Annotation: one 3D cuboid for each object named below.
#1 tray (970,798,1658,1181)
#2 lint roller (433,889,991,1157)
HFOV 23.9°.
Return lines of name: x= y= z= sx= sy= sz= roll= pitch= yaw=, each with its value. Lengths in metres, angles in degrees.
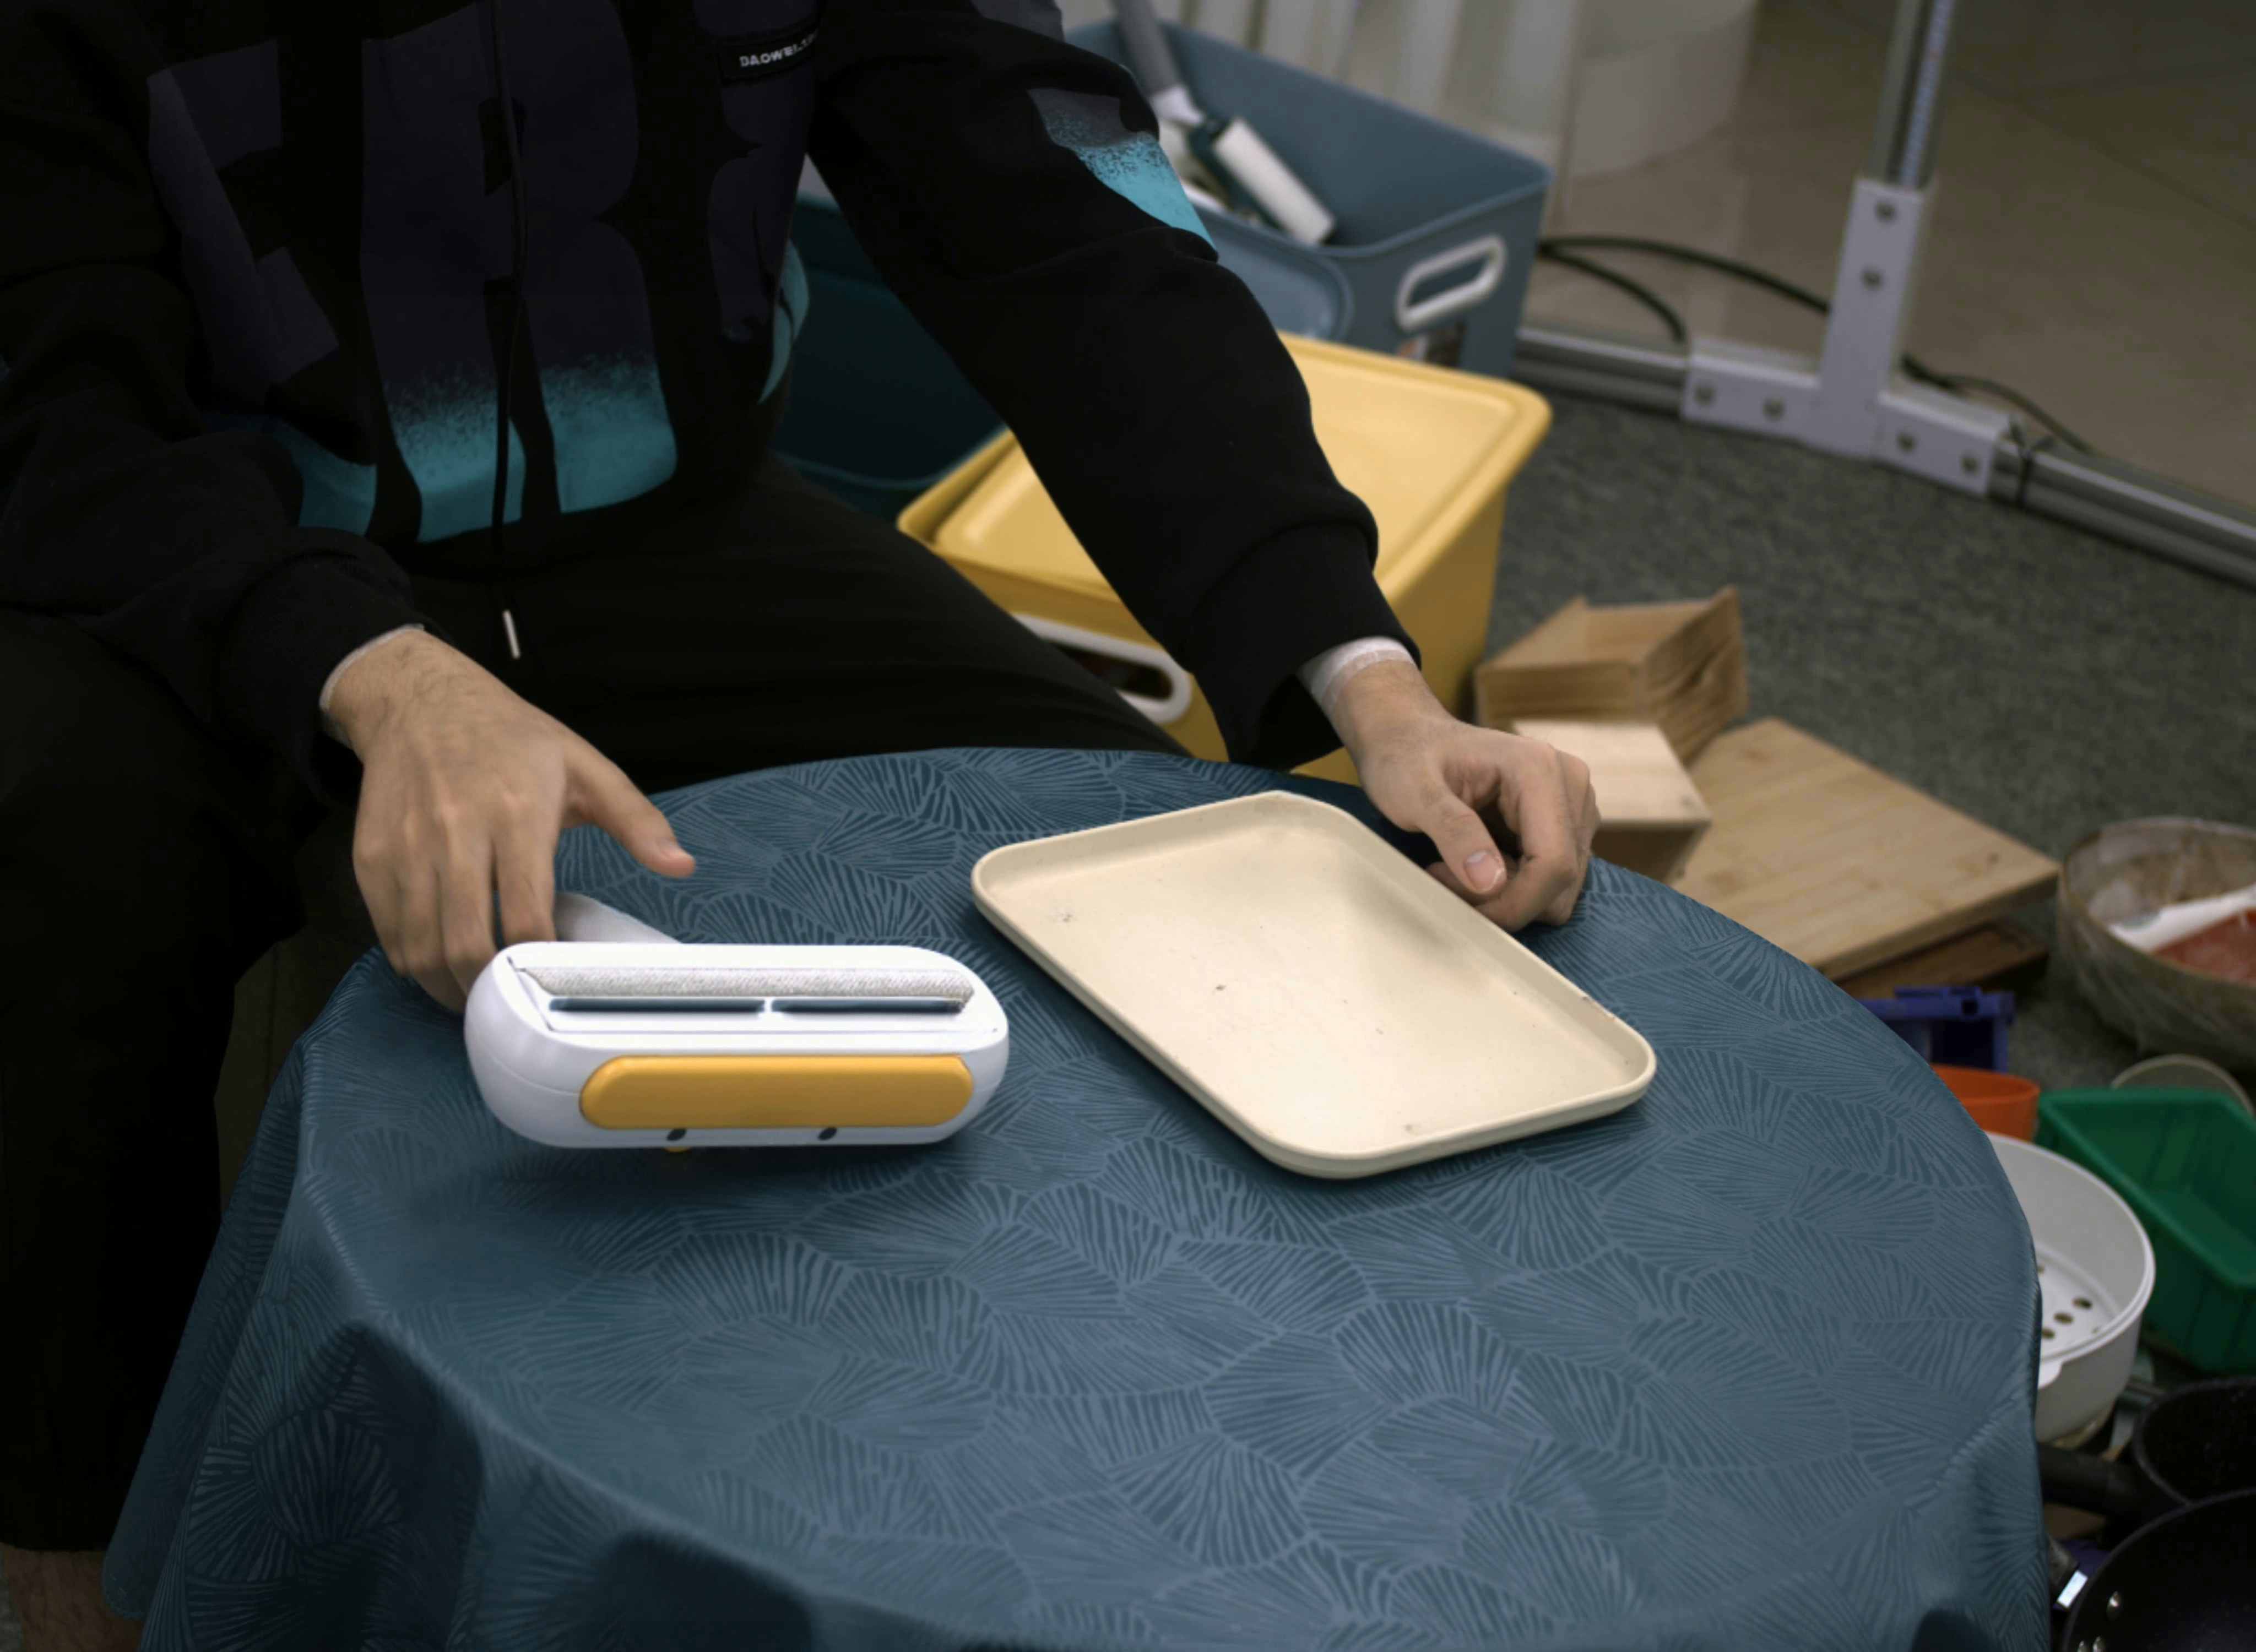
tray: x=0.064 y=0.057 z=1.924 sx=0.170 sy=0.017 sz=0.242 roll=-12 pitch=32 yaw=-31
lint roller: x=-0.162 y=0.055 z=1.824 sx=0.191 sy=0.074 sz=0.194 roll=-1 pitch=26 yaw=-26
